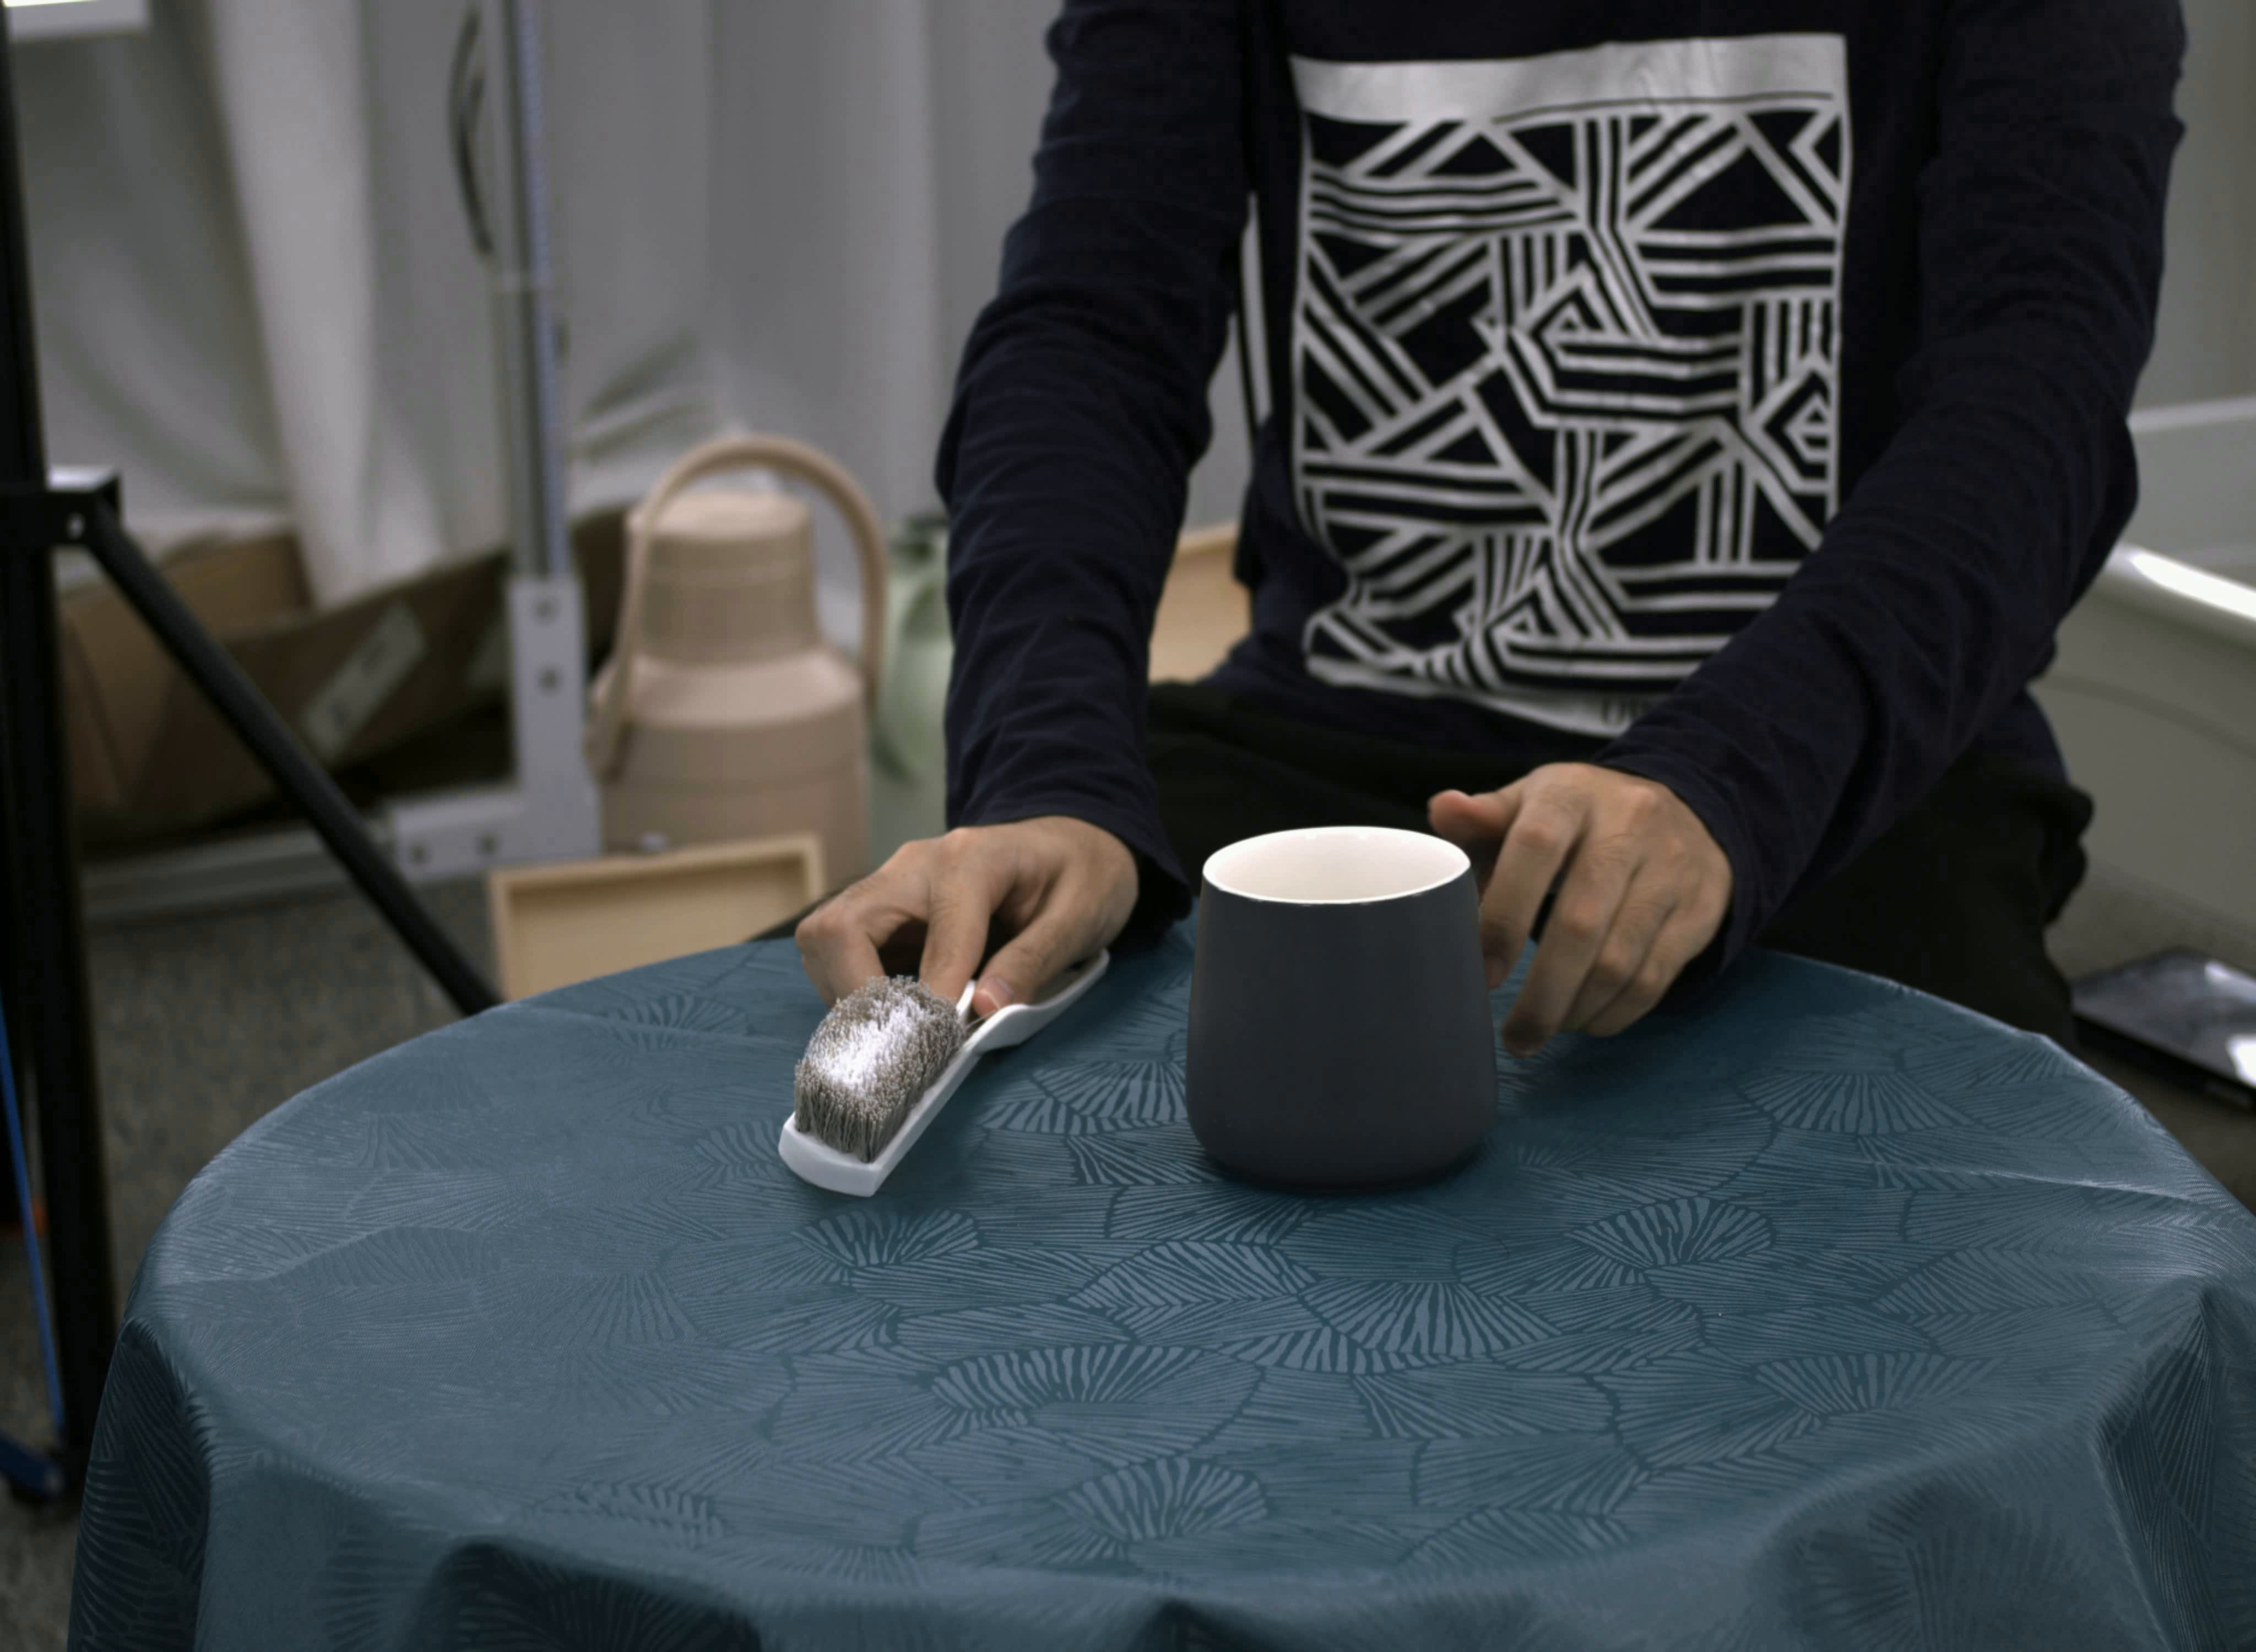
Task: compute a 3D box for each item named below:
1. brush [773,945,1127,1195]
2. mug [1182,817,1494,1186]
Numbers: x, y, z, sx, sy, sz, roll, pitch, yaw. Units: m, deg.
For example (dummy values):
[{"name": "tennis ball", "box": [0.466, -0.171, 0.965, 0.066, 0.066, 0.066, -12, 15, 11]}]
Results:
[{"name": "brush", "box": [-0.047, 0.057, 1.658, 0.035, 0.050, 0.240, 23, 22, 16]}, {"name": "mug", "box": [0.070, 0.048, 1.588, 0.095, 0.090, 0.121, 9, 21, 31]}]
